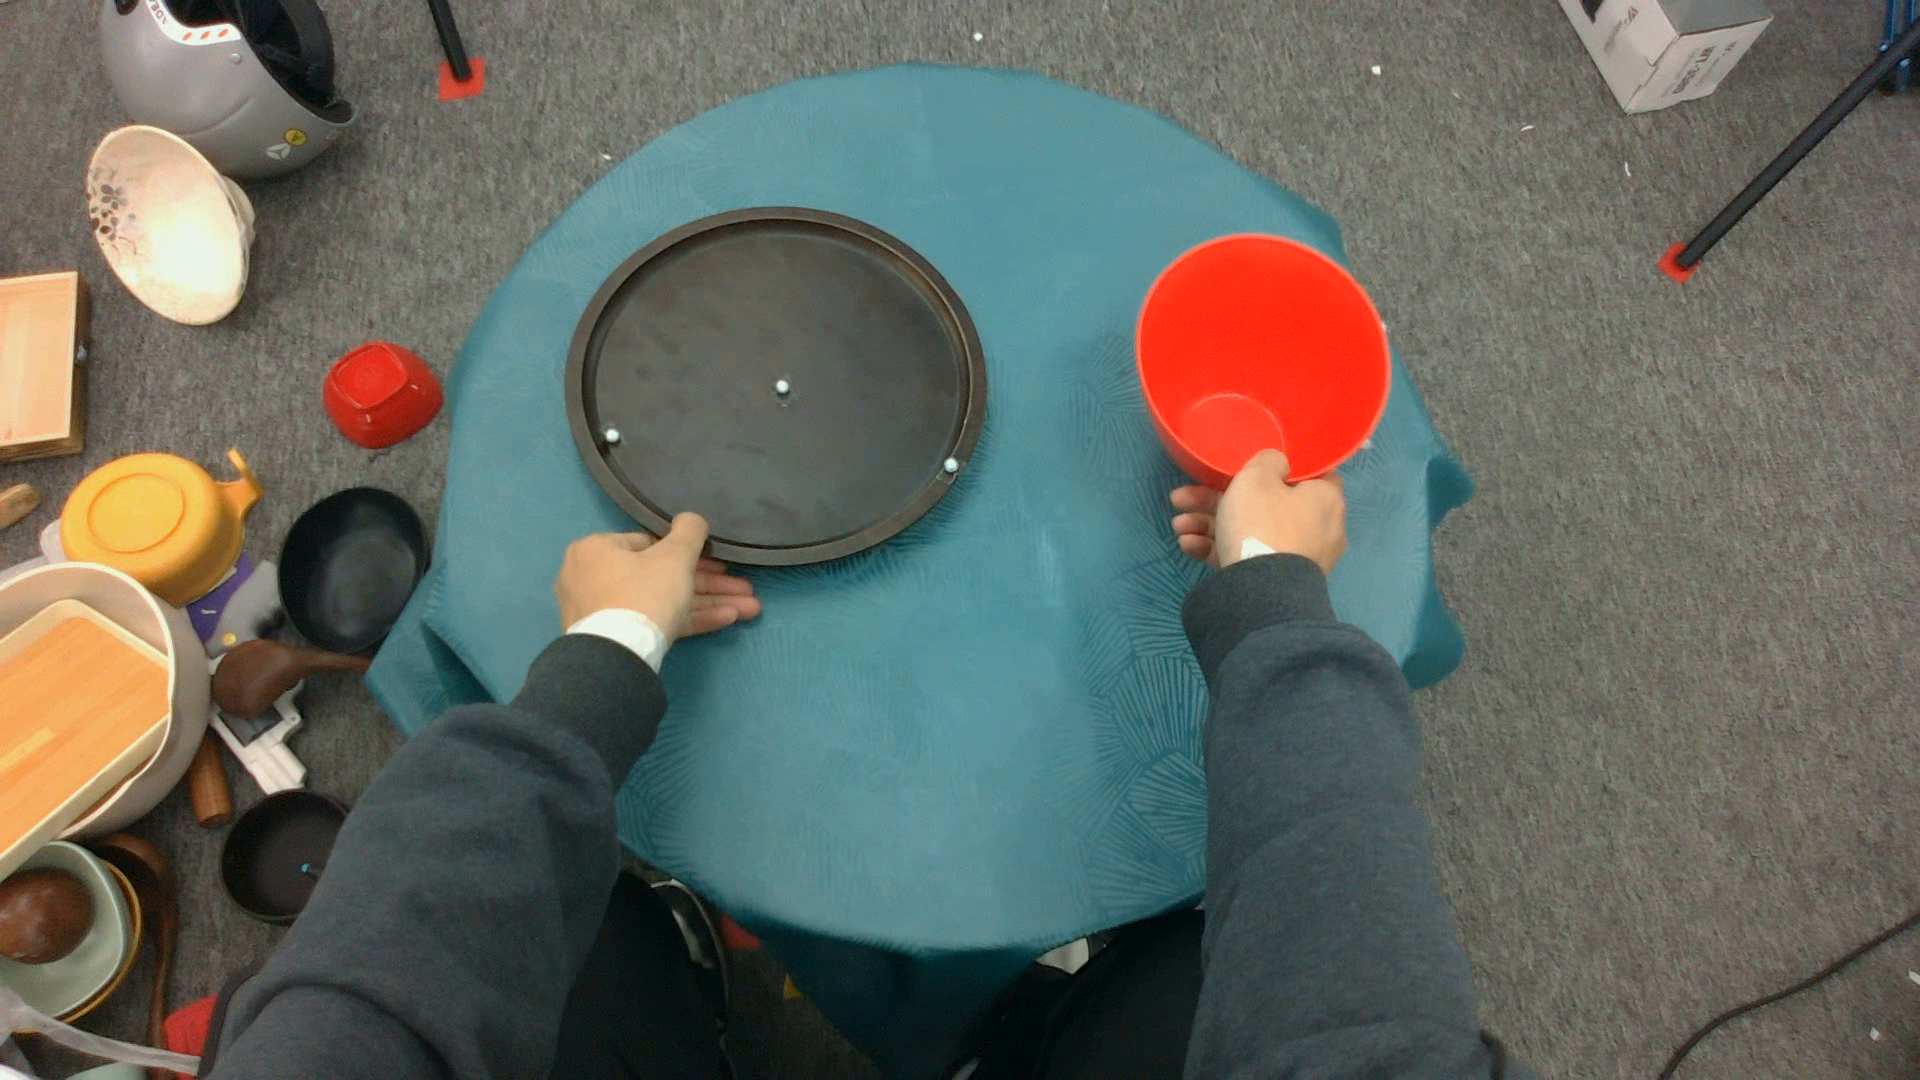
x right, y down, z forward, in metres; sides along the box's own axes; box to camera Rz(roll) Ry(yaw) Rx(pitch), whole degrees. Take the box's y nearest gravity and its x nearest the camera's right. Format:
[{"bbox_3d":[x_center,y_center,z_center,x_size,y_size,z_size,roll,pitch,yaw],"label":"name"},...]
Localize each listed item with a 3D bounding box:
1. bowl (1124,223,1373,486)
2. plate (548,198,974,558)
[{"bbox_3d":[0.160,-0.097,0.818,0.148,0.104,0.148,3,65,-6],"label":"bowl"},{"bbox_3d":[-0.119,-0.102,0.836,0.255,0.029,0.255,3,64,-6],"label":"plate"}]
